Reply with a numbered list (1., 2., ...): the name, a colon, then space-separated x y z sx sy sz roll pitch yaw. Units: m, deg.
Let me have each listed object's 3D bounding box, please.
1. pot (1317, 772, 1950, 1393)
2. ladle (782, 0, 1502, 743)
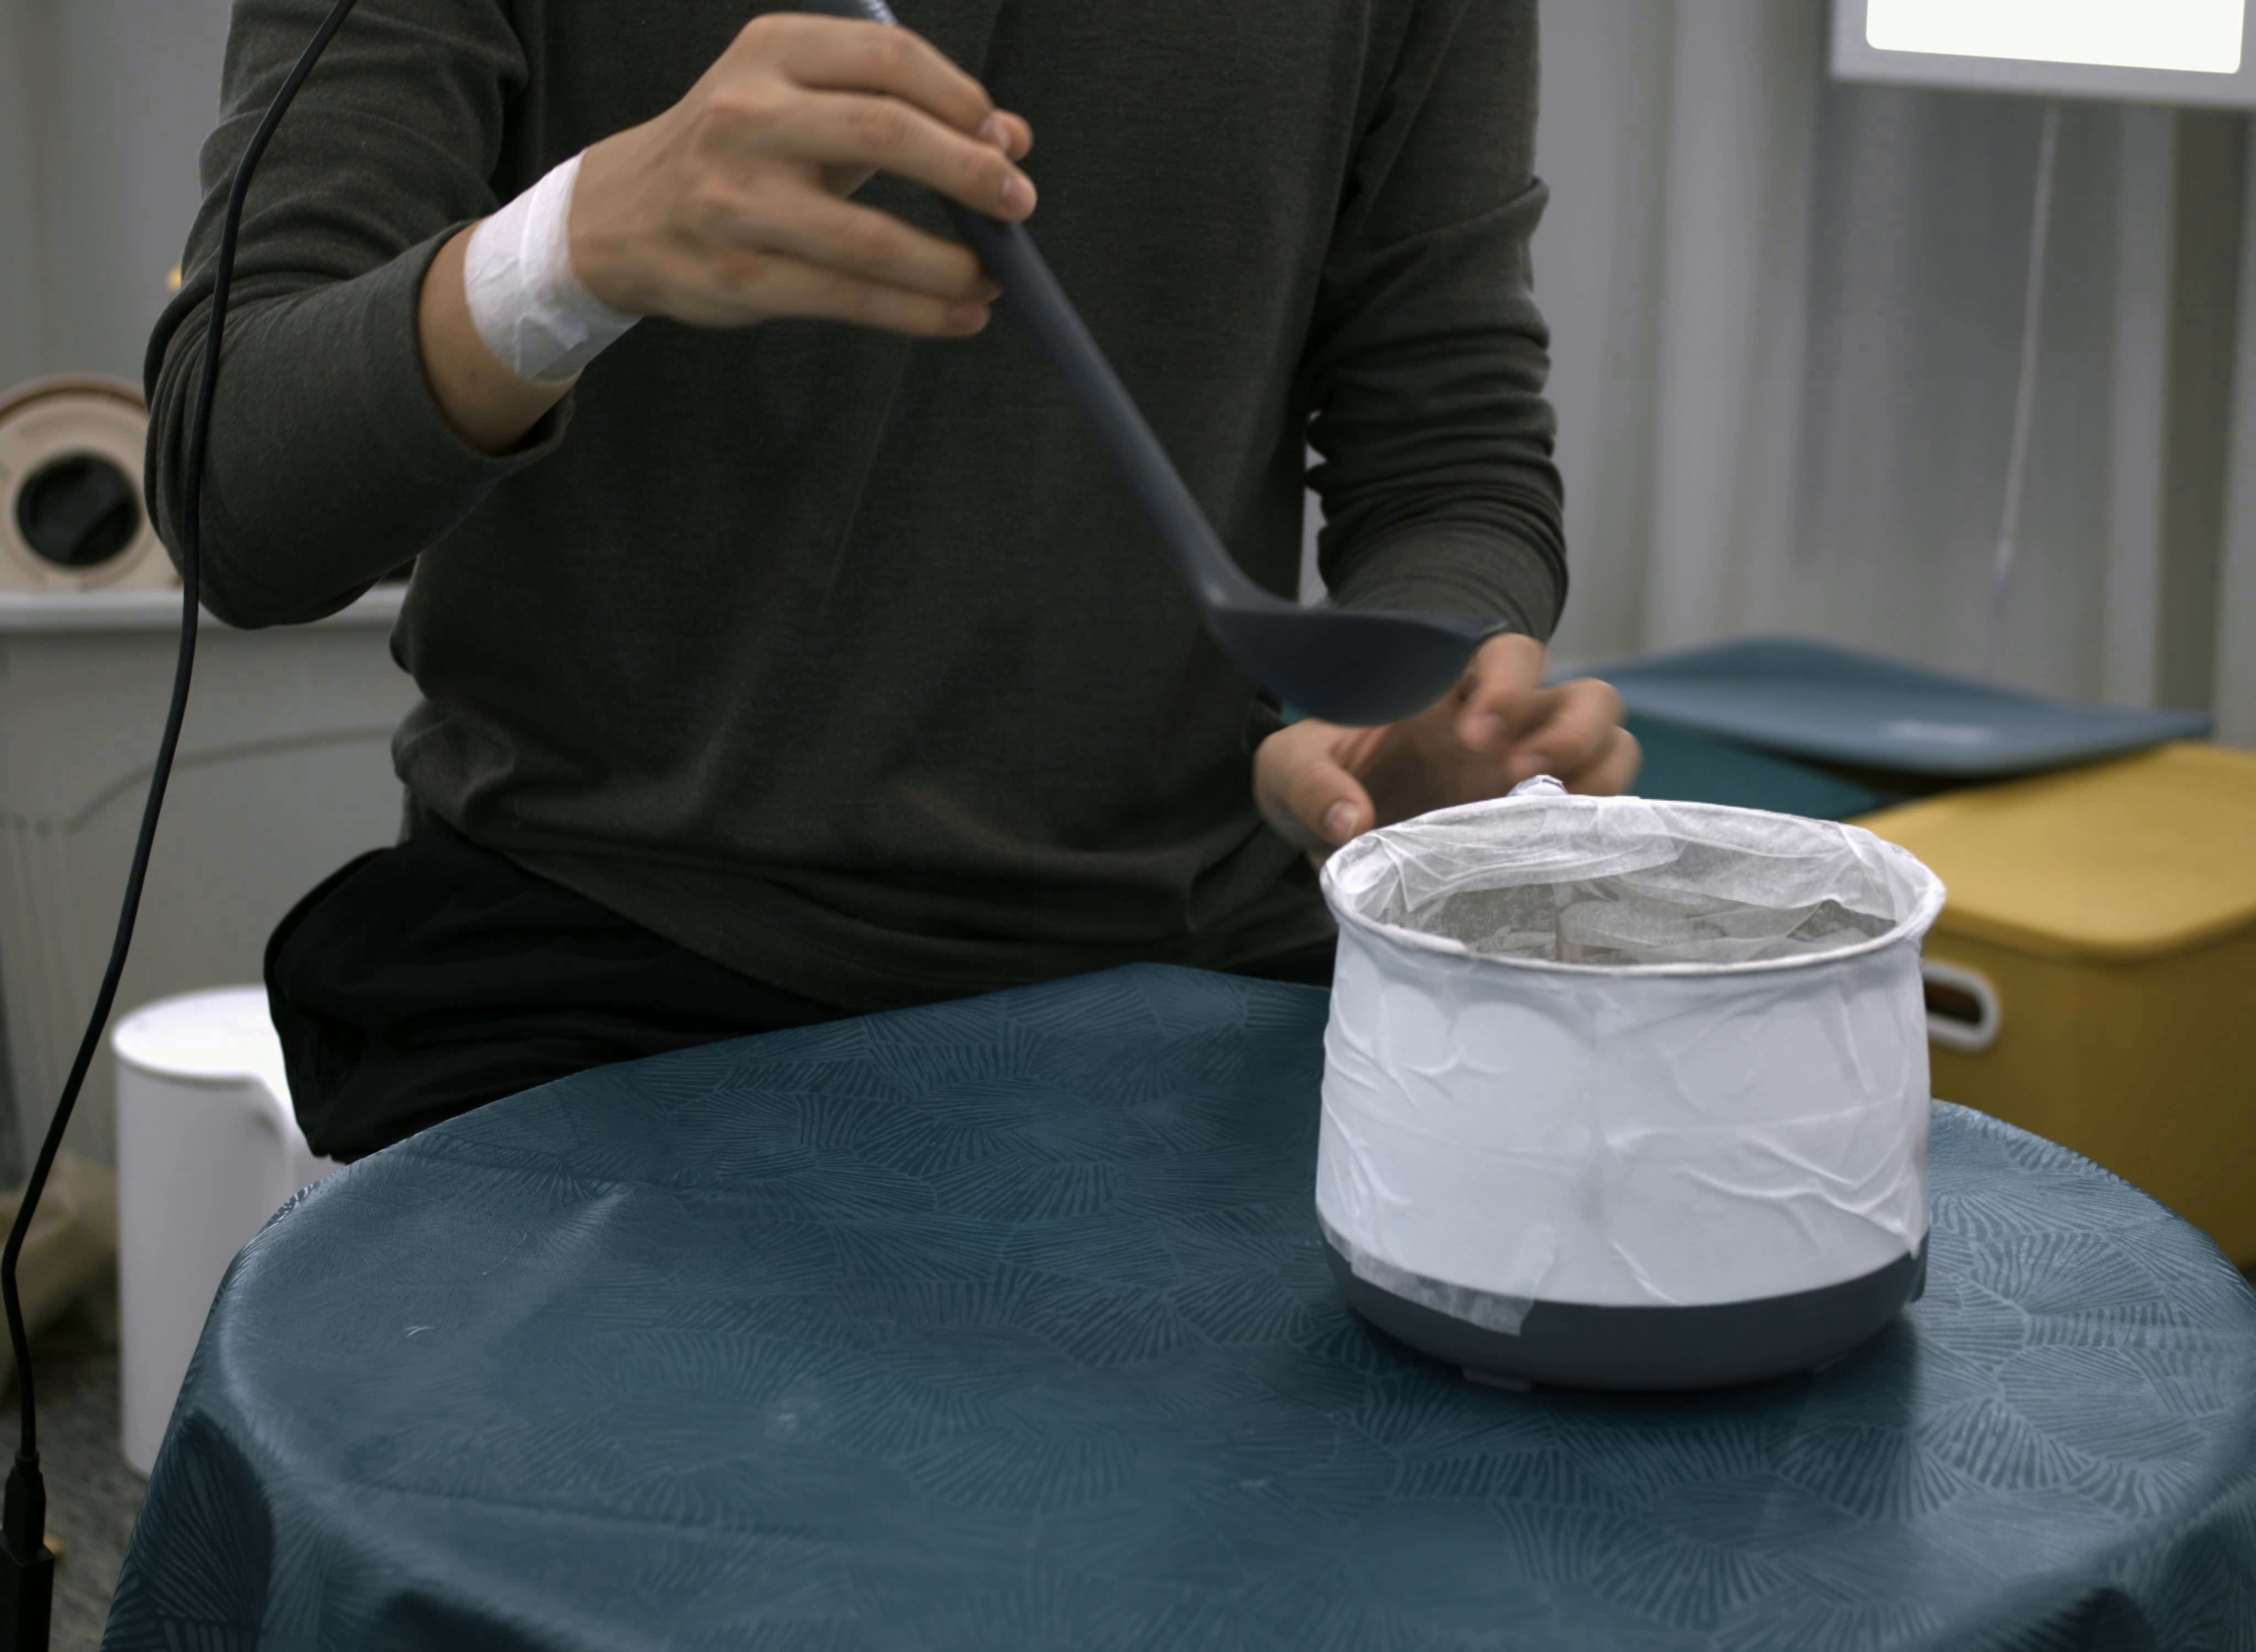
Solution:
1. pot: 0.137 0.068 1.530 0.179 0.138 0.231 -3 16 -12
2. ladle: -0.009 -0.152 1.437 0.064 0.312 0.087 -38 -15 19
